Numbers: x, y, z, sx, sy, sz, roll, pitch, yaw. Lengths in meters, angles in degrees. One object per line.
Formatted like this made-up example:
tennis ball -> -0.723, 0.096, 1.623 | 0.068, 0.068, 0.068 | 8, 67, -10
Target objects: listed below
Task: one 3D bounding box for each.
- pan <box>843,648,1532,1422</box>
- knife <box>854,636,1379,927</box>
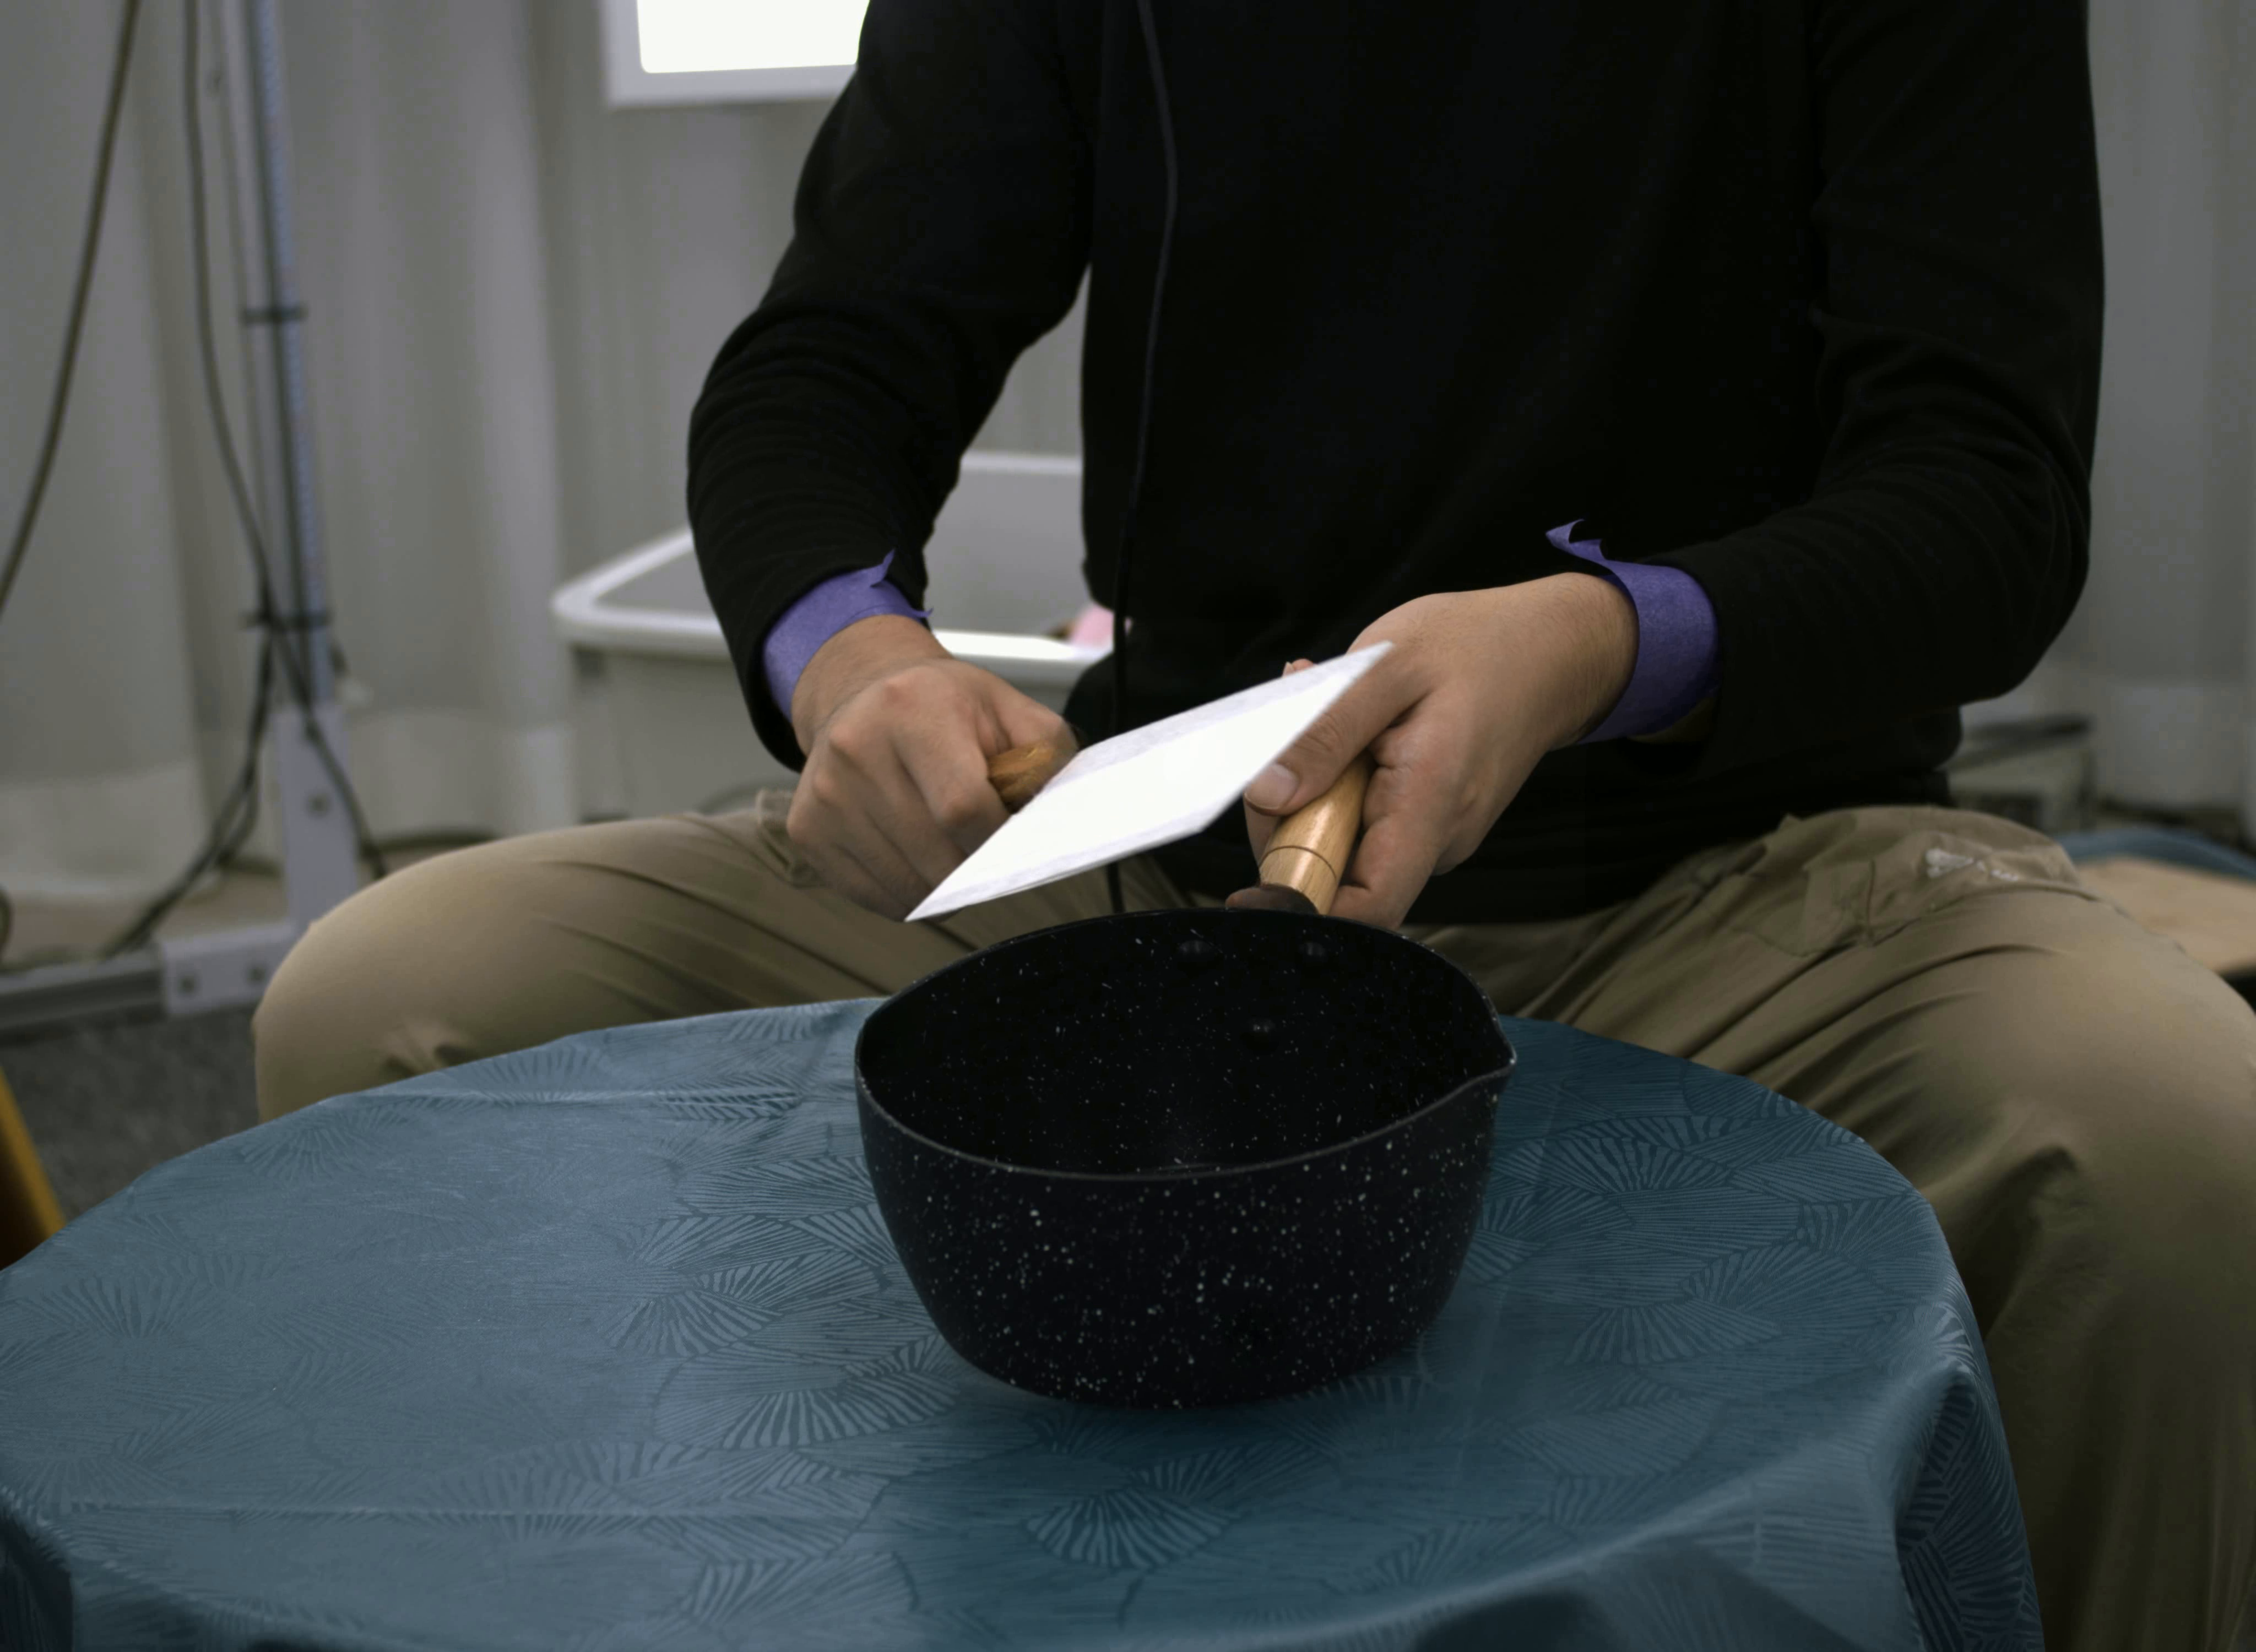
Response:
pan -> 0.036, 0.058, 1.646 | 0.207, 0.107, 0.345 | 2, 24, 15
knife -> -0.024, -0.004, 1.691 | 0.093, 0.021, 0.305 | -44, 12, -27
